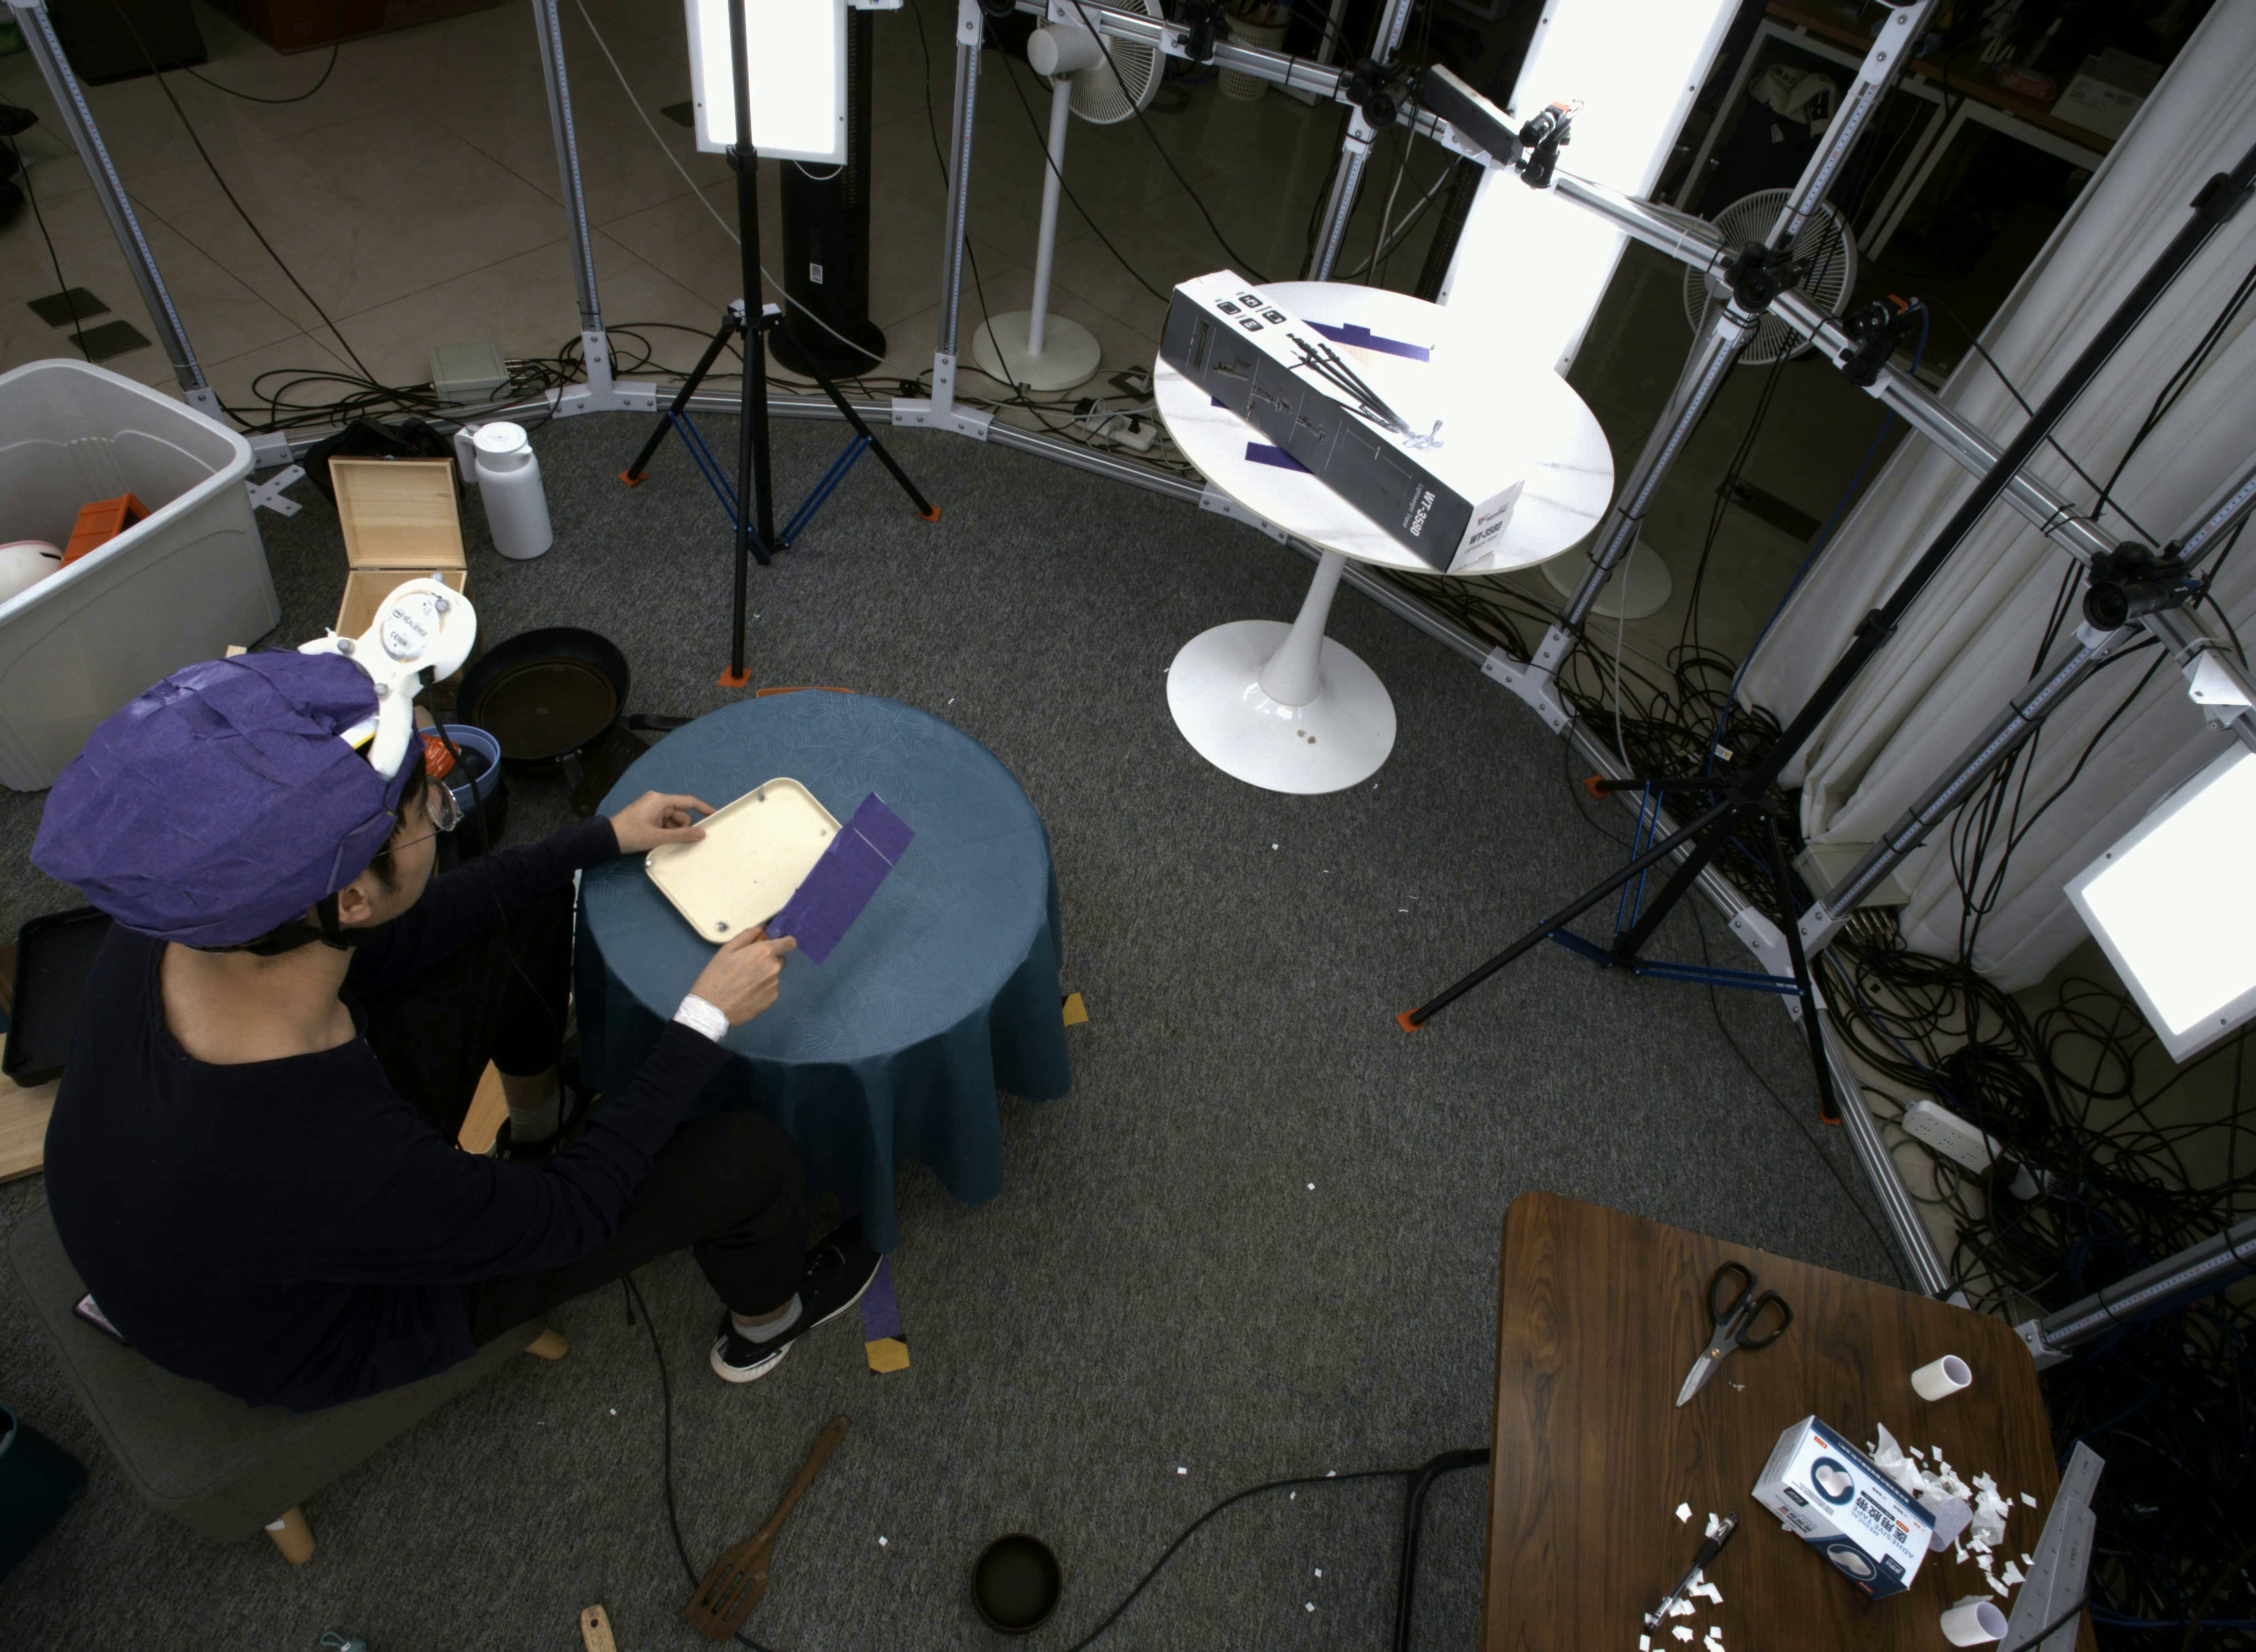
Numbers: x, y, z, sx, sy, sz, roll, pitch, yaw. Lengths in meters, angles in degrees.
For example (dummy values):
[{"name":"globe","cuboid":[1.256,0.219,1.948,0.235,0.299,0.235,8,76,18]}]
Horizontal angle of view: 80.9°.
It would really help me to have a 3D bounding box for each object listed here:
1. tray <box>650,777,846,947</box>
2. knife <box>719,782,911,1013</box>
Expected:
[{"name":"tray","cuboid":[-0.480,0.043,1.671,0.168,0.018,0.240,45,56,13]},{"name":"knife","cuboid":[-0.361,0.099,1.544,0.031,0.108,0.315,8,58,45]}]
